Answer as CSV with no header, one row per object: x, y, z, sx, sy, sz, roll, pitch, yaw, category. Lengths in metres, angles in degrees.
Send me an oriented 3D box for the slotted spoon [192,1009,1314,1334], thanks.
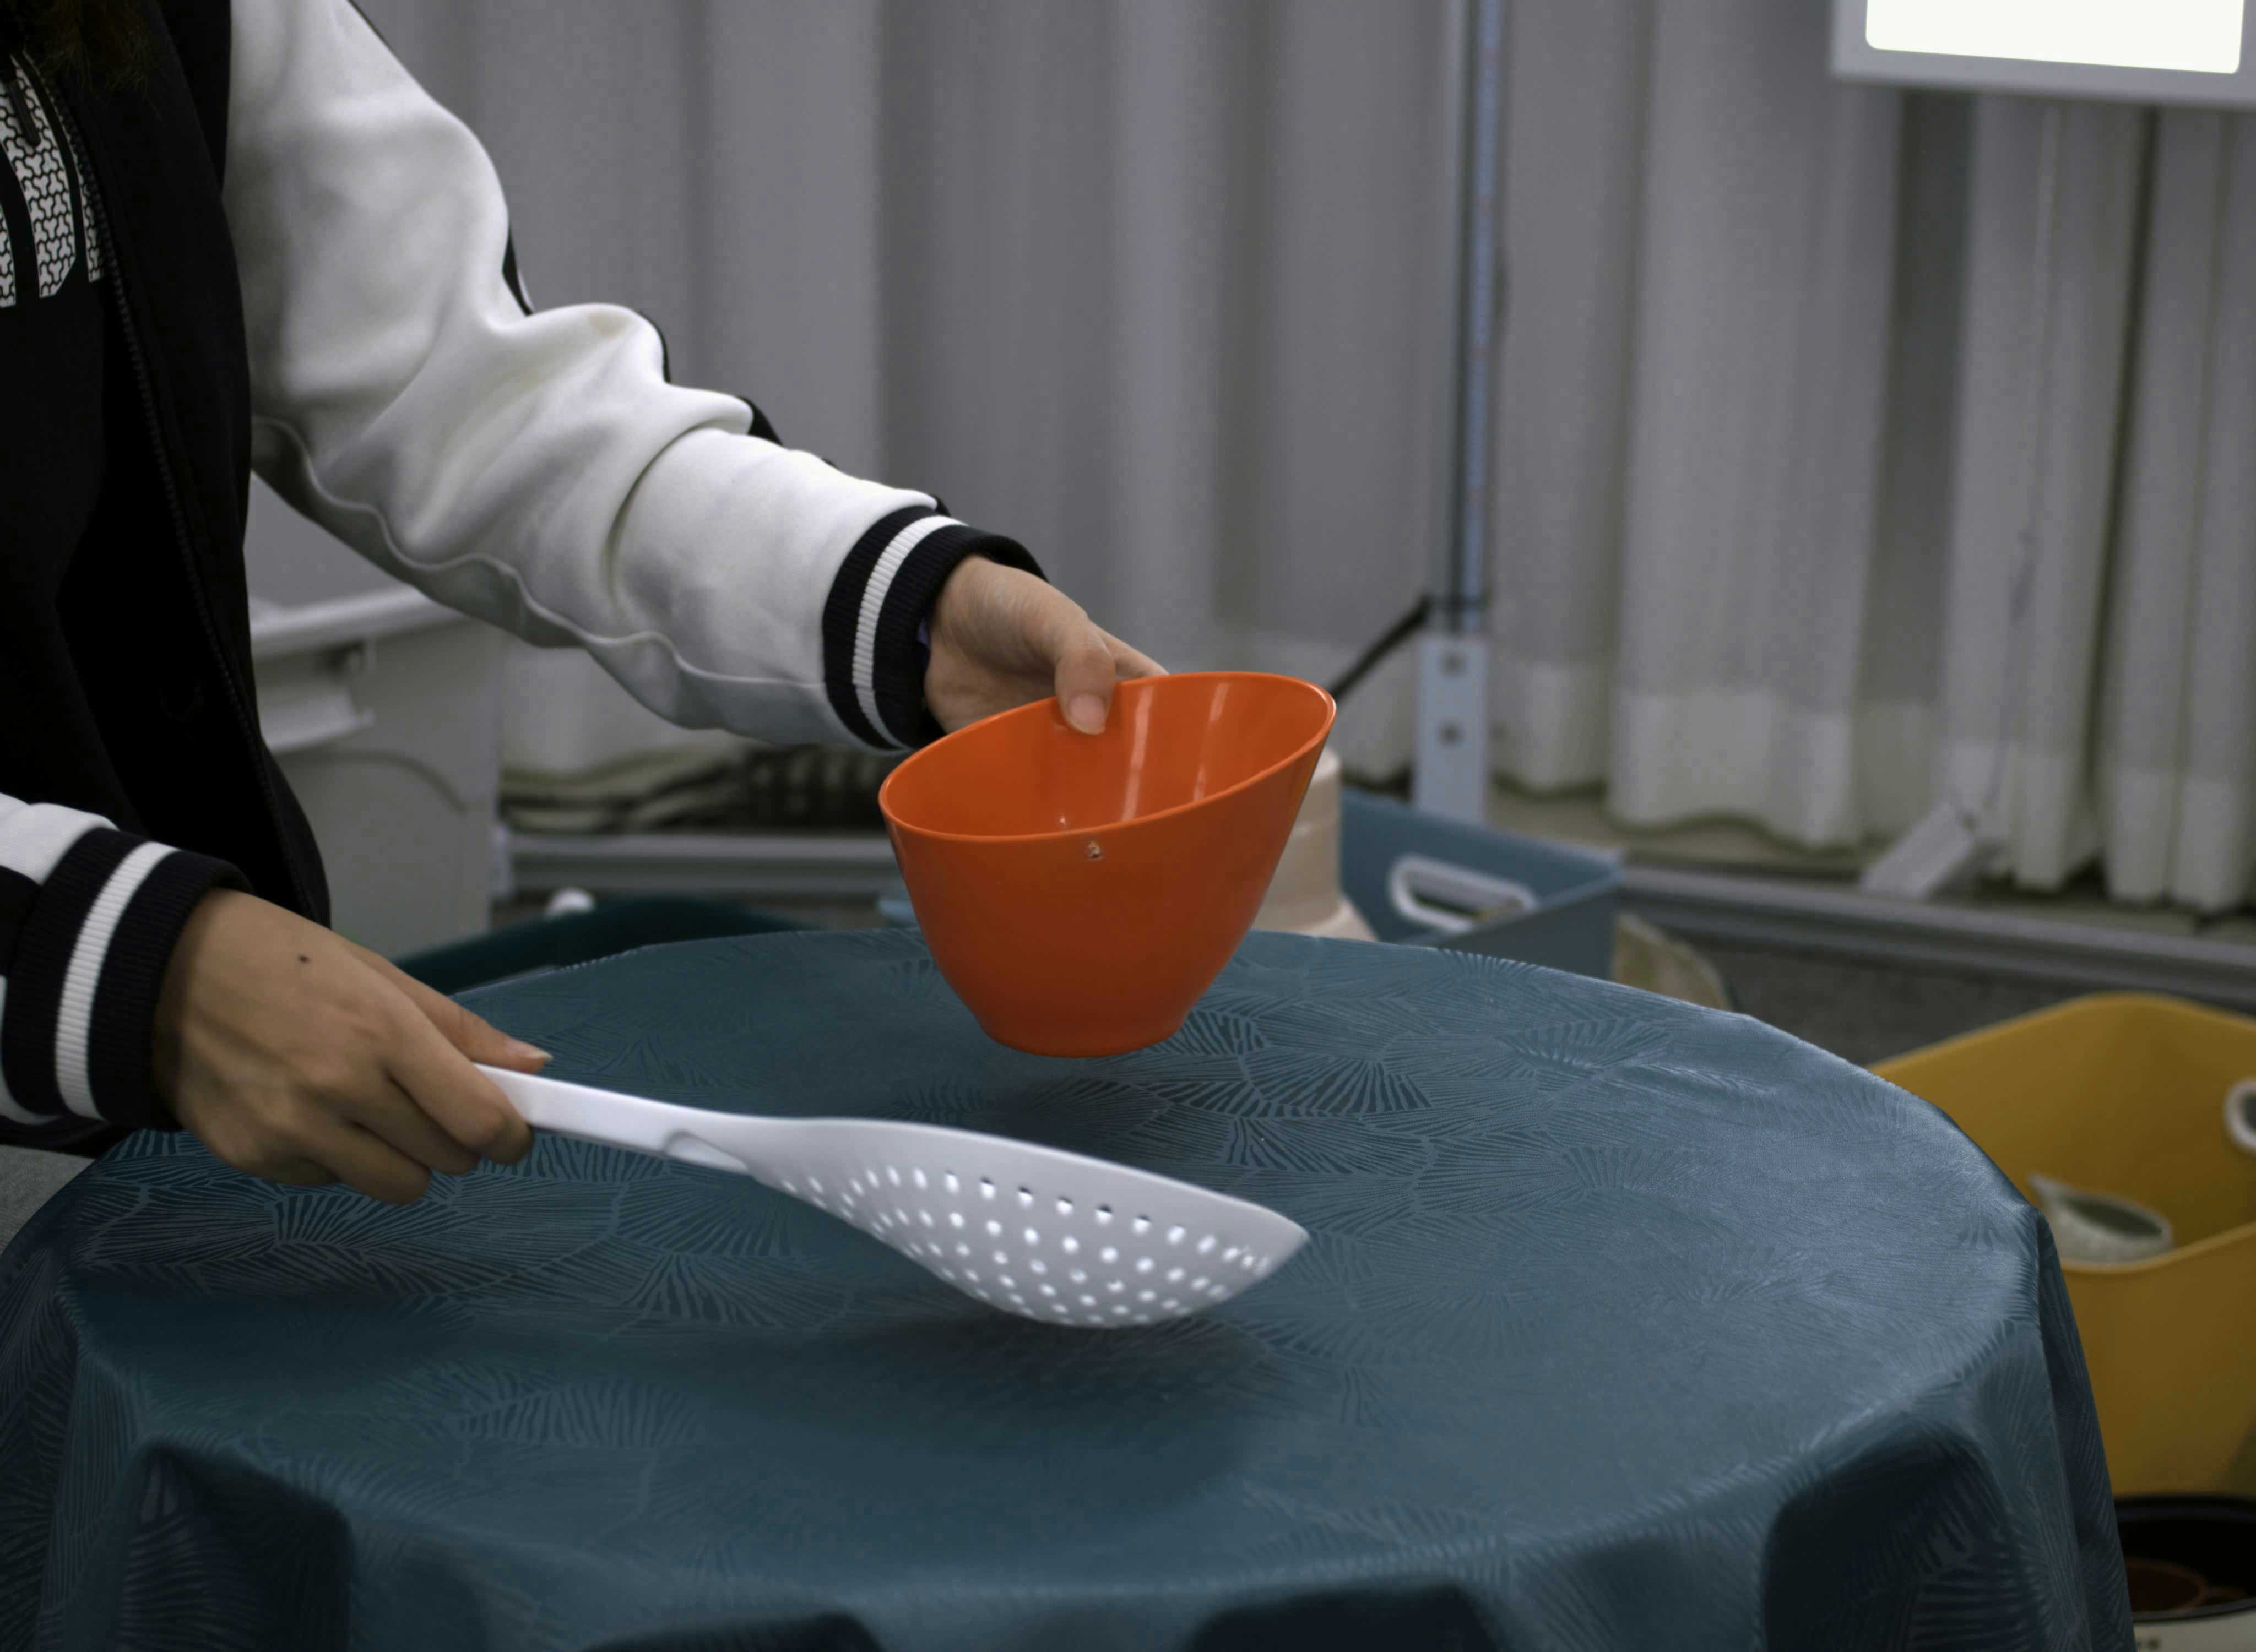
-0.114,0.090,1.500,0.346,0.046,0.137,15,-9,21,slotted spoon

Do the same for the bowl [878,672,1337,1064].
-0.005,0.016,1.679,0.147,0.106,0.147,-2,22,2,bowl
